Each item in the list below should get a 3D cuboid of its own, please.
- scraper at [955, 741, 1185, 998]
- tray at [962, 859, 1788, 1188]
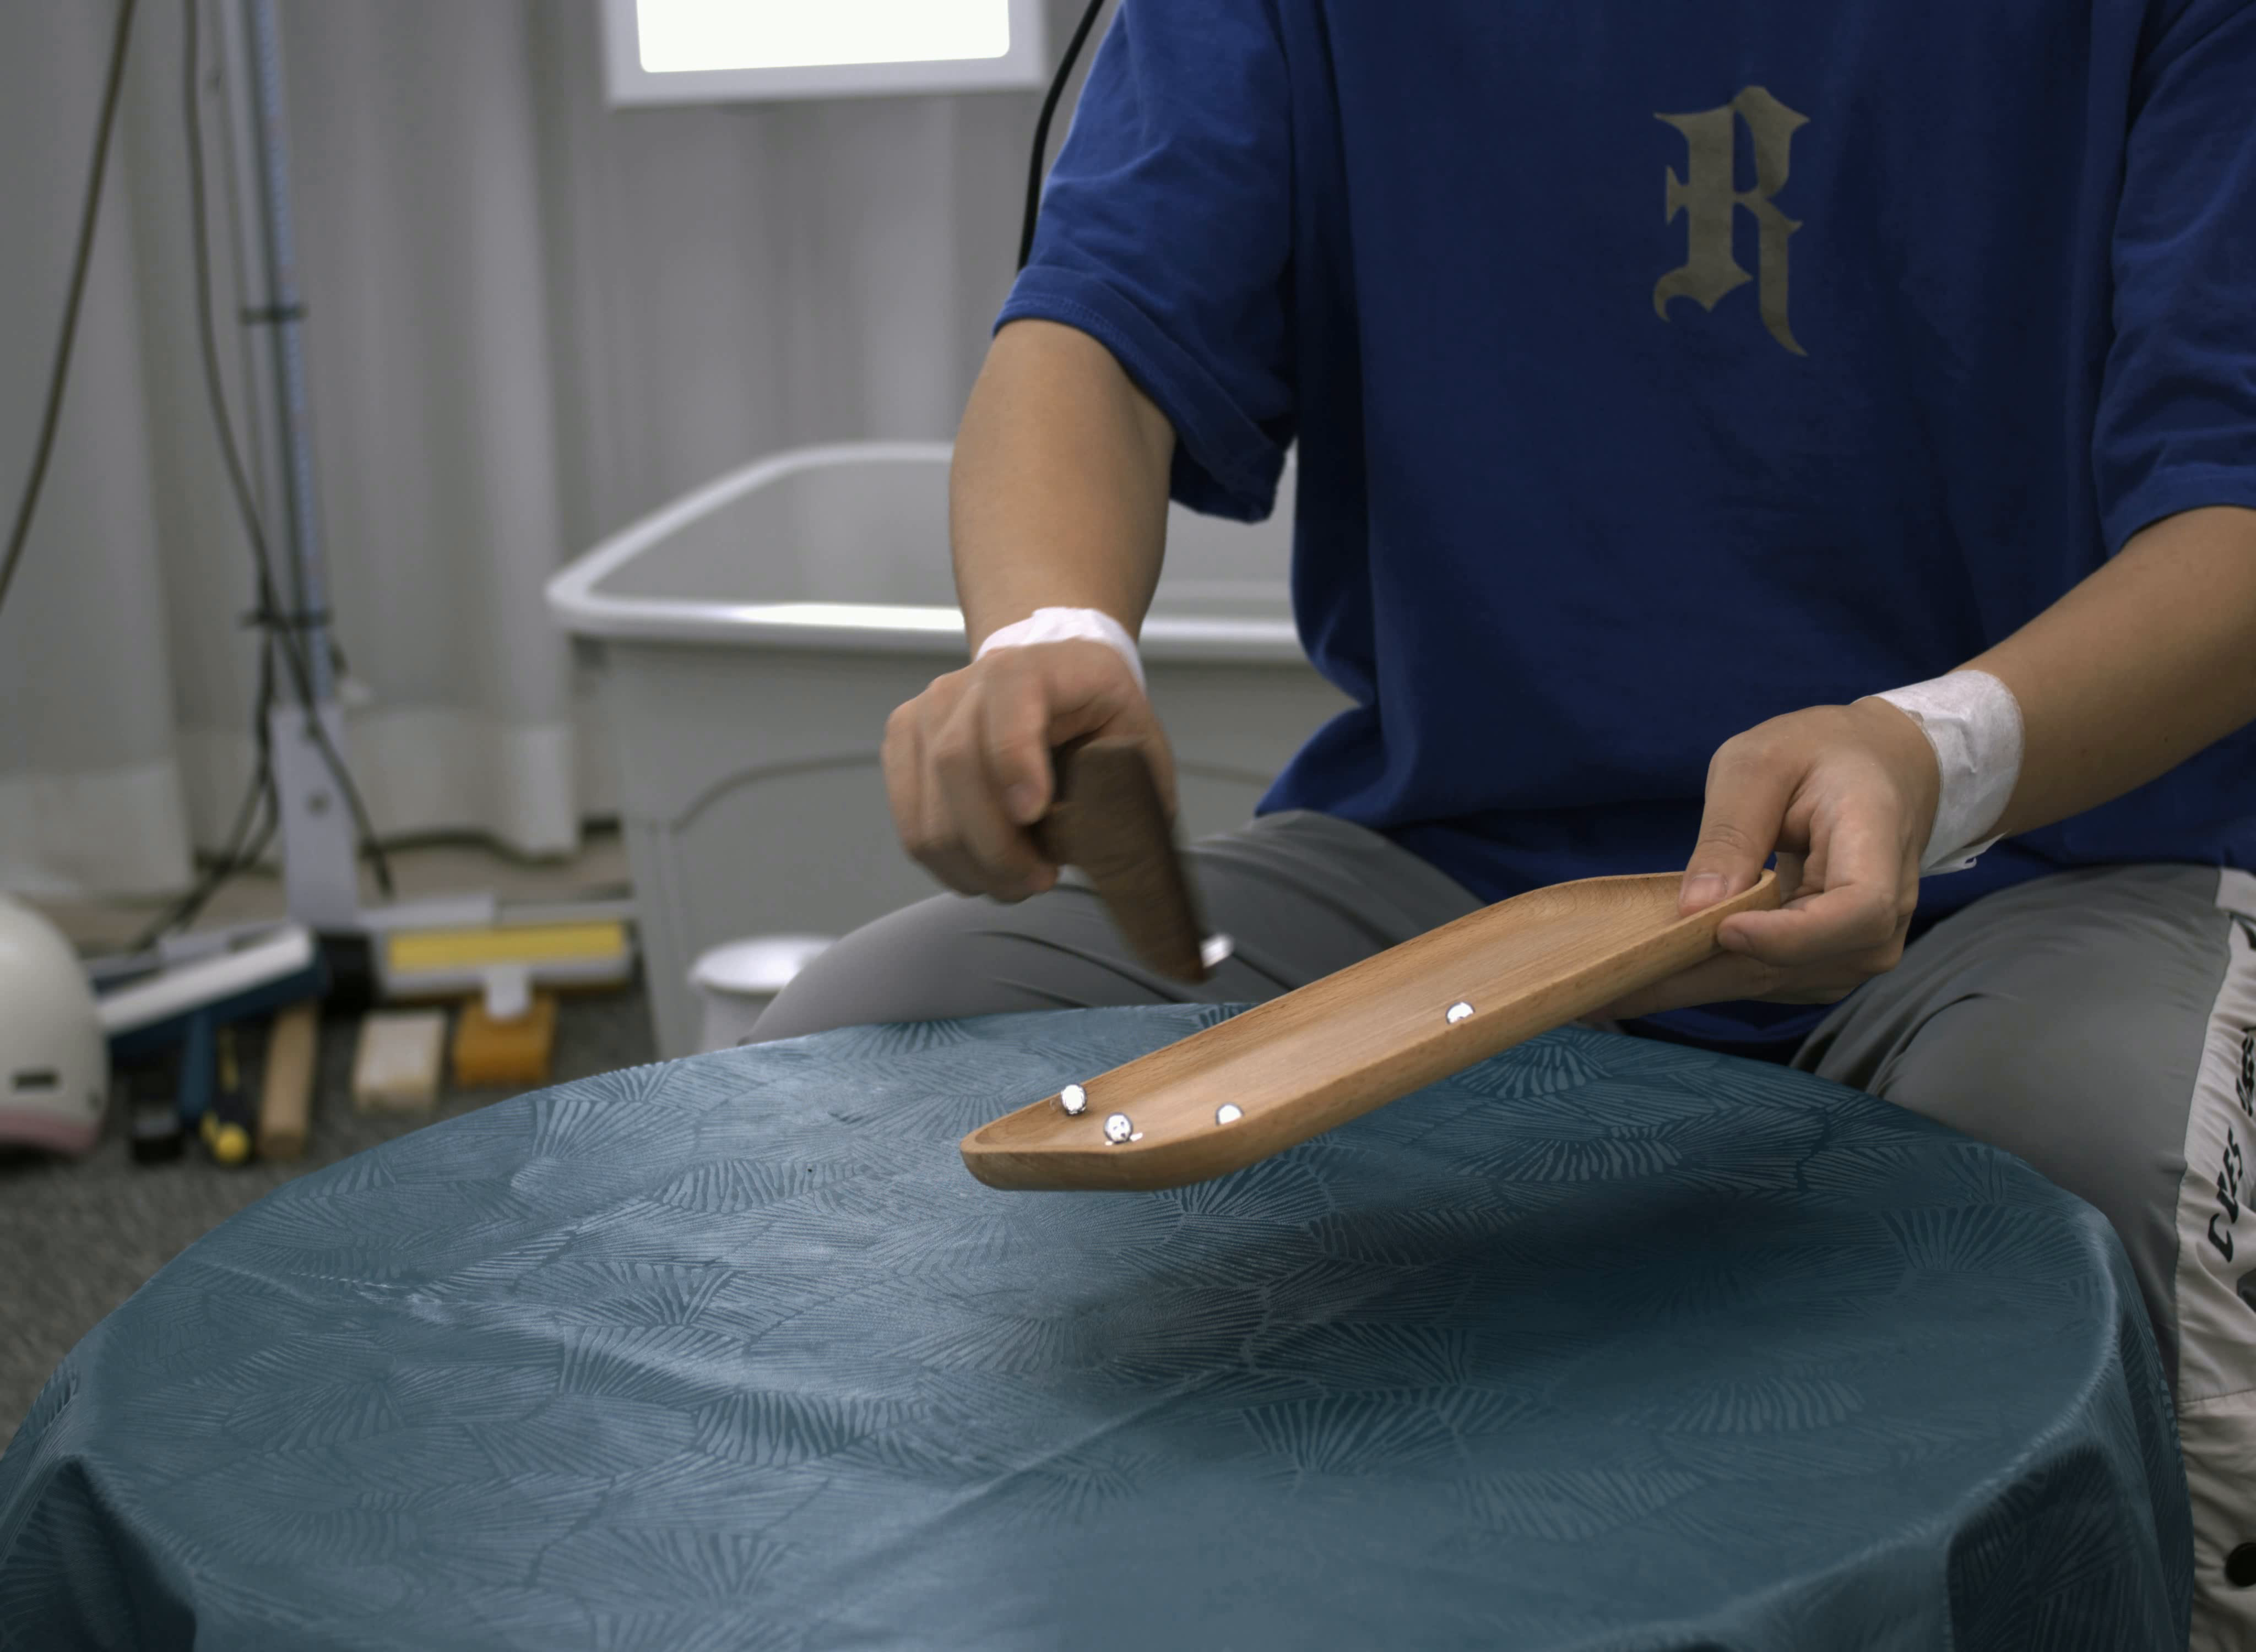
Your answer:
[{"bbox_3d":[-0.023,0.006,1.635,0.011,0.076,0.212,-18,9,-13],"label":"scraper"},{"bbox_3d":[0.075,0.057,1.603,0.250,0.023,0.131,-21,12,-33],"label":"tray"}]
